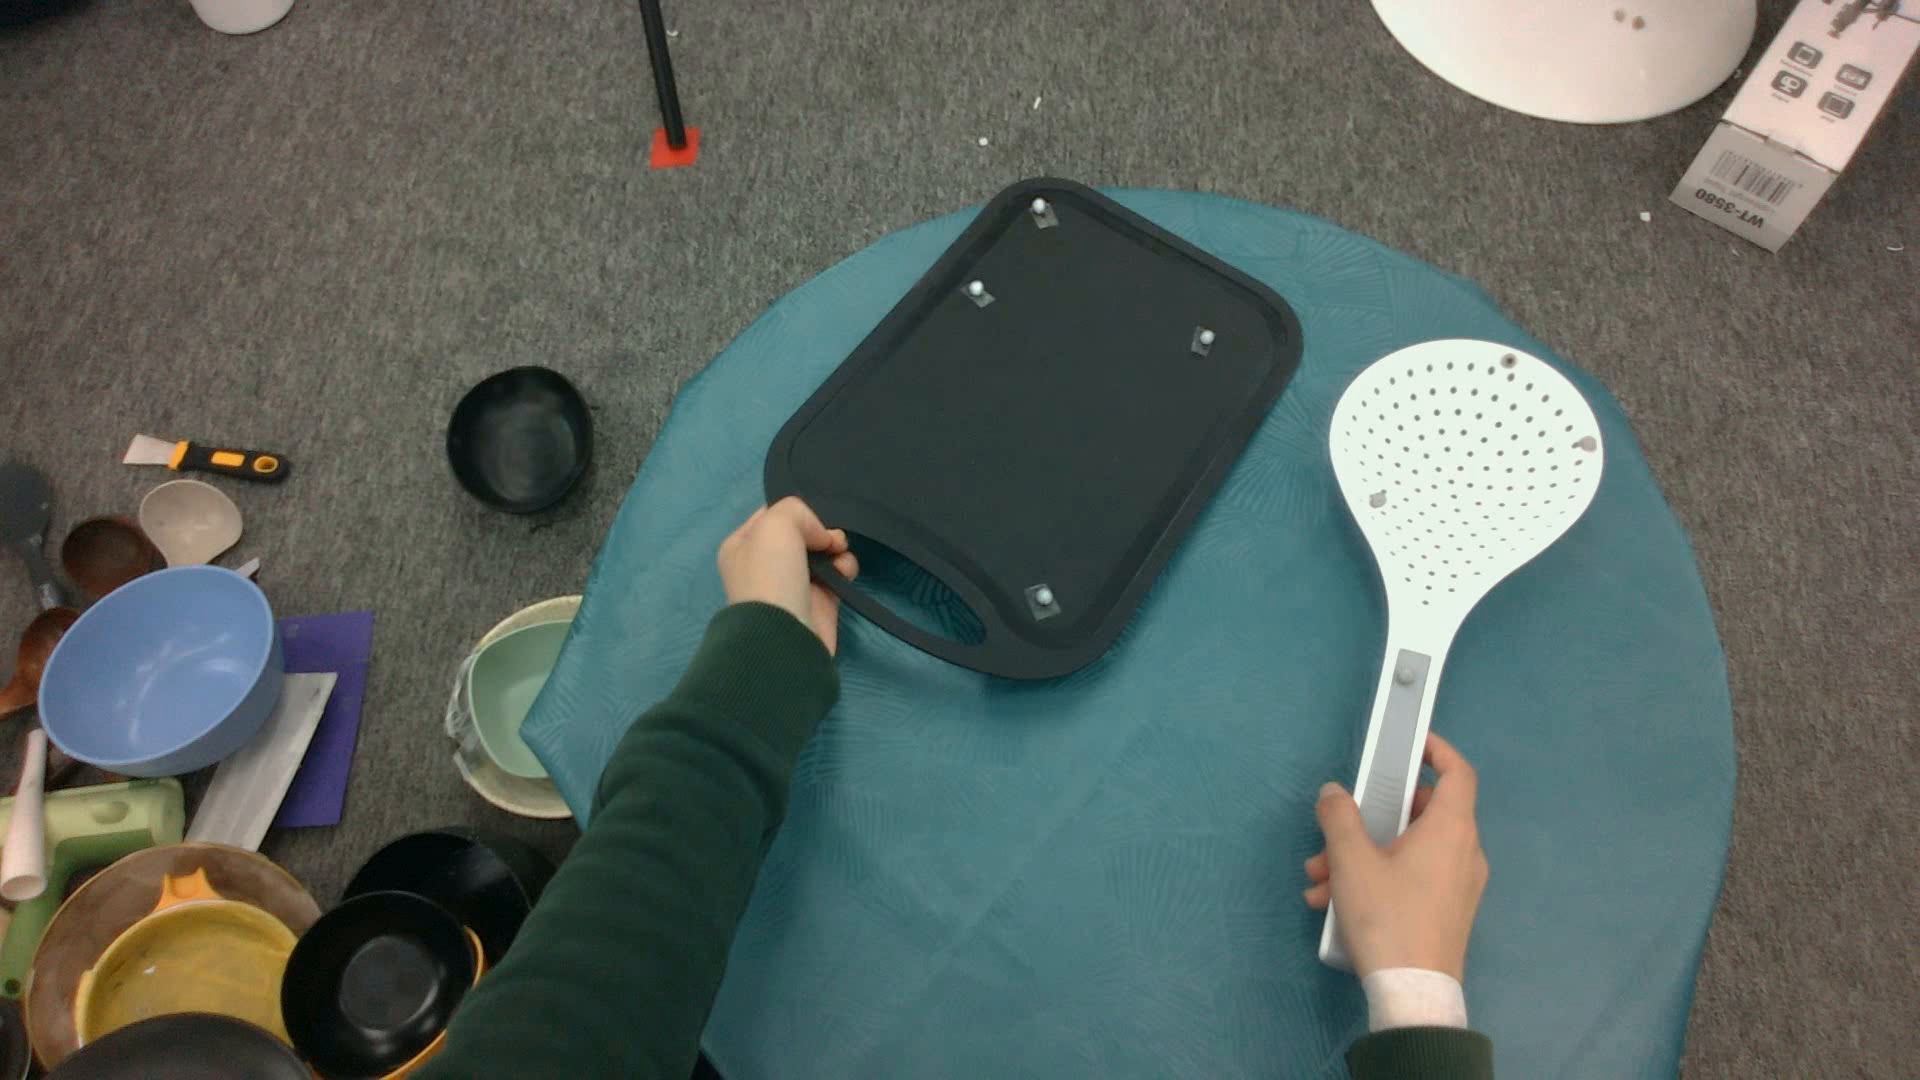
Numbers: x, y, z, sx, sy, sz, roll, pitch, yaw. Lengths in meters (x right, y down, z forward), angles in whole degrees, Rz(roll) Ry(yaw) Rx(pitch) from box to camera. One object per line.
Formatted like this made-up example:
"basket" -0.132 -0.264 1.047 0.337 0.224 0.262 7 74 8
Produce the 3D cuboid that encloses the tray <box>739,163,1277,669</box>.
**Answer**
"tray" 0.032 -0.079 0.760 0.211 0.010 0.327 32 61 9

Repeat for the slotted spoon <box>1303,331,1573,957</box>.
"slotted spoon" 0.223 0.038 0.696 0.136 0.045 0.351 13 59 15
